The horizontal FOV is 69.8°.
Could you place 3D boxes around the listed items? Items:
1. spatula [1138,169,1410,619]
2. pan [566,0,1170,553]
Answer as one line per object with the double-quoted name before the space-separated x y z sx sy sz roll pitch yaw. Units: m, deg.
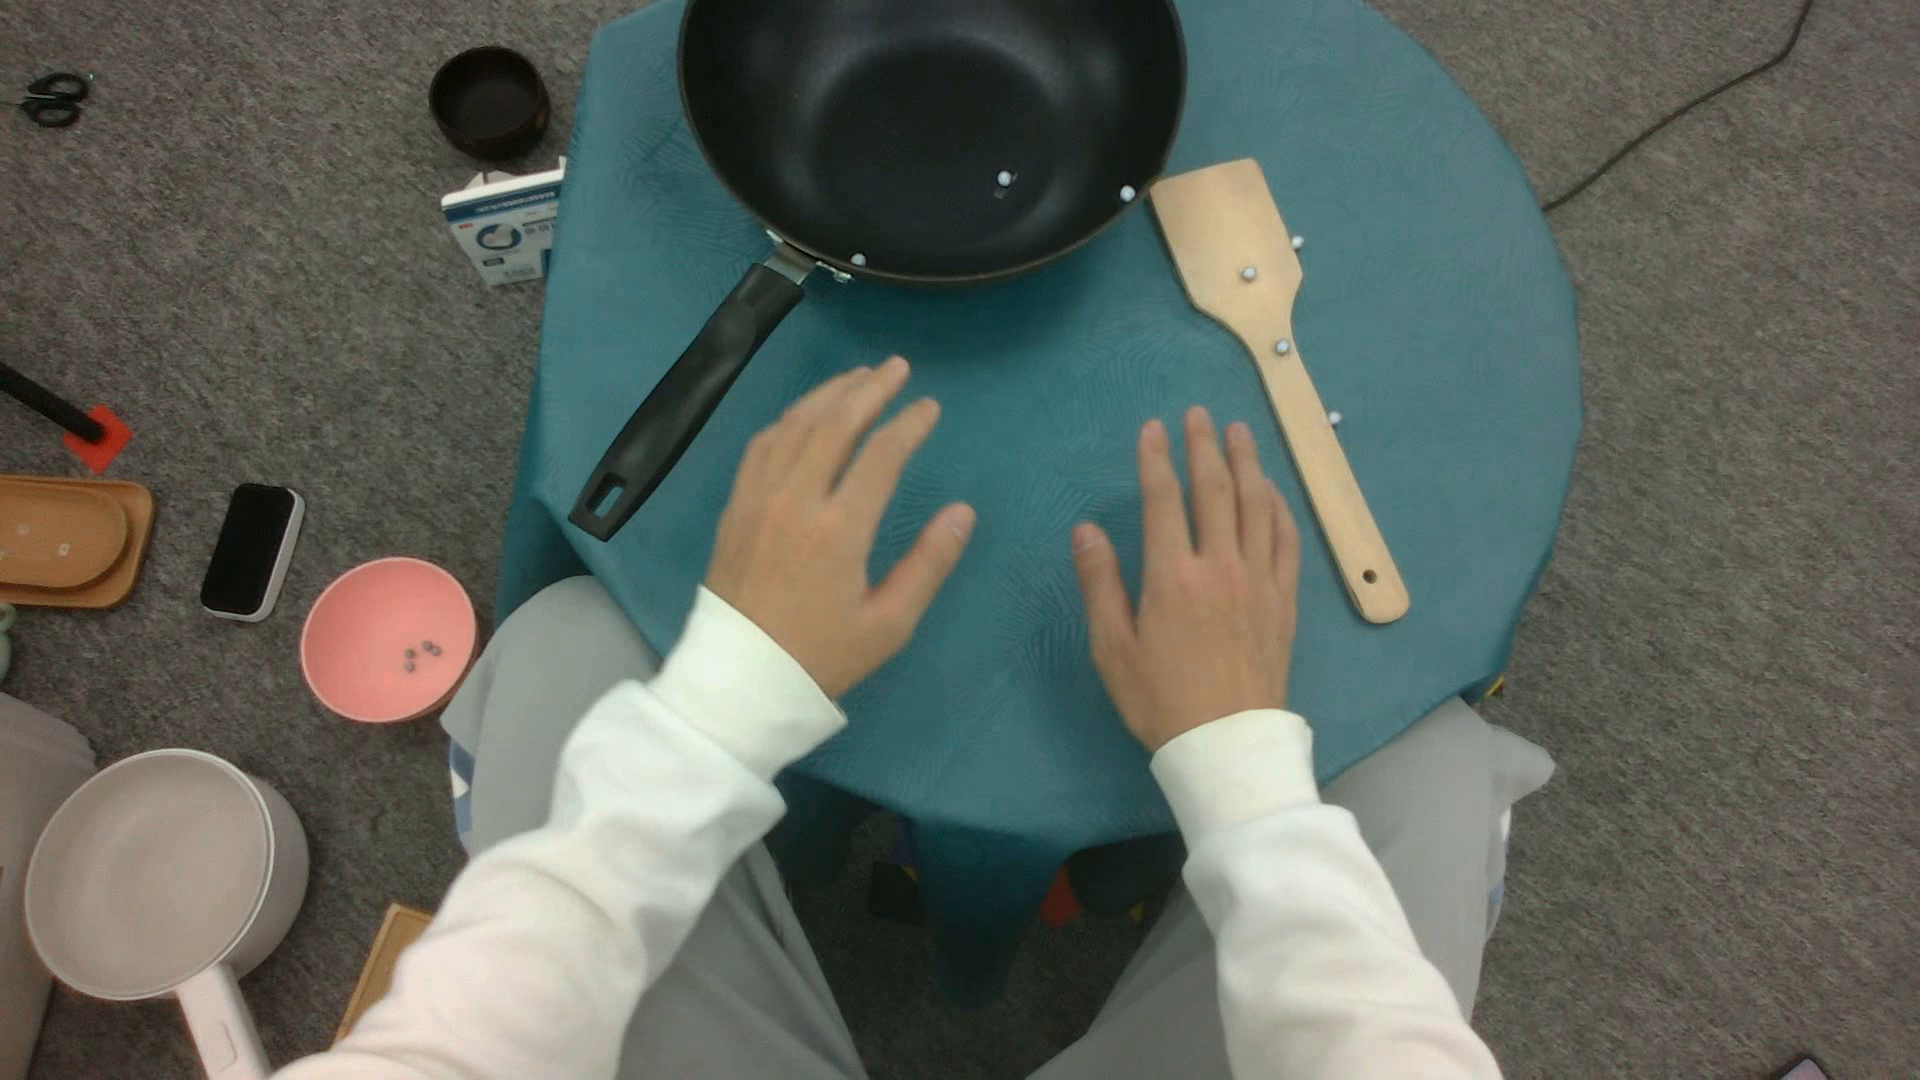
"spatula" 0.187 -0.089 0.794 0.072 0.010 0.293 -18 71 -8
"pan" -0.067 -0.175 0.787 0.288 0.086 0.464 28 74 10
